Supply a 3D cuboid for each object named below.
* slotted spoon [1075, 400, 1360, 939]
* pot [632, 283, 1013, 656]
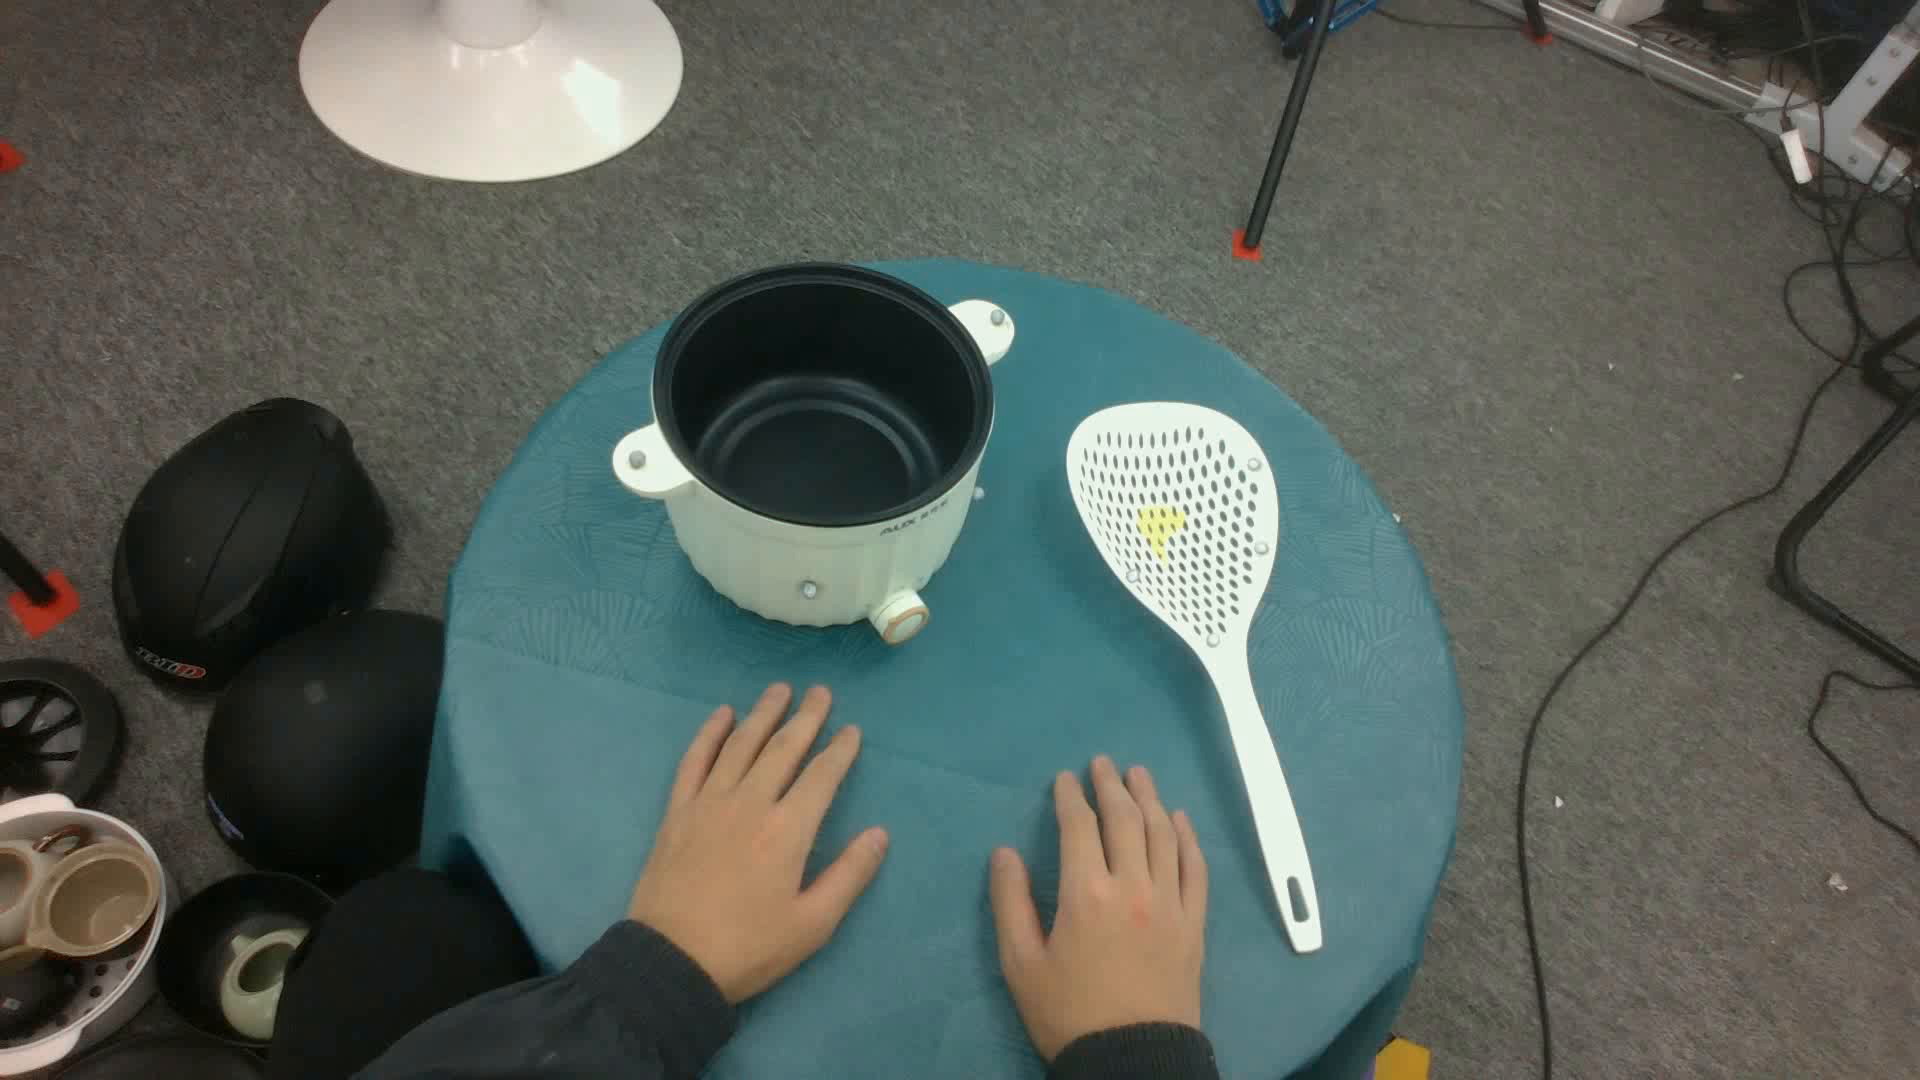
[{"bbox_3d":[0.164,0.063,0.818,0.137,0.050,0.349,-7,56,-14],"label":"slotted spoon"},{"bbox_3d":[-0.070,-0.032,0.798,0.241,0.142,0.191,-30,61,-23],"label":"pot"}]
